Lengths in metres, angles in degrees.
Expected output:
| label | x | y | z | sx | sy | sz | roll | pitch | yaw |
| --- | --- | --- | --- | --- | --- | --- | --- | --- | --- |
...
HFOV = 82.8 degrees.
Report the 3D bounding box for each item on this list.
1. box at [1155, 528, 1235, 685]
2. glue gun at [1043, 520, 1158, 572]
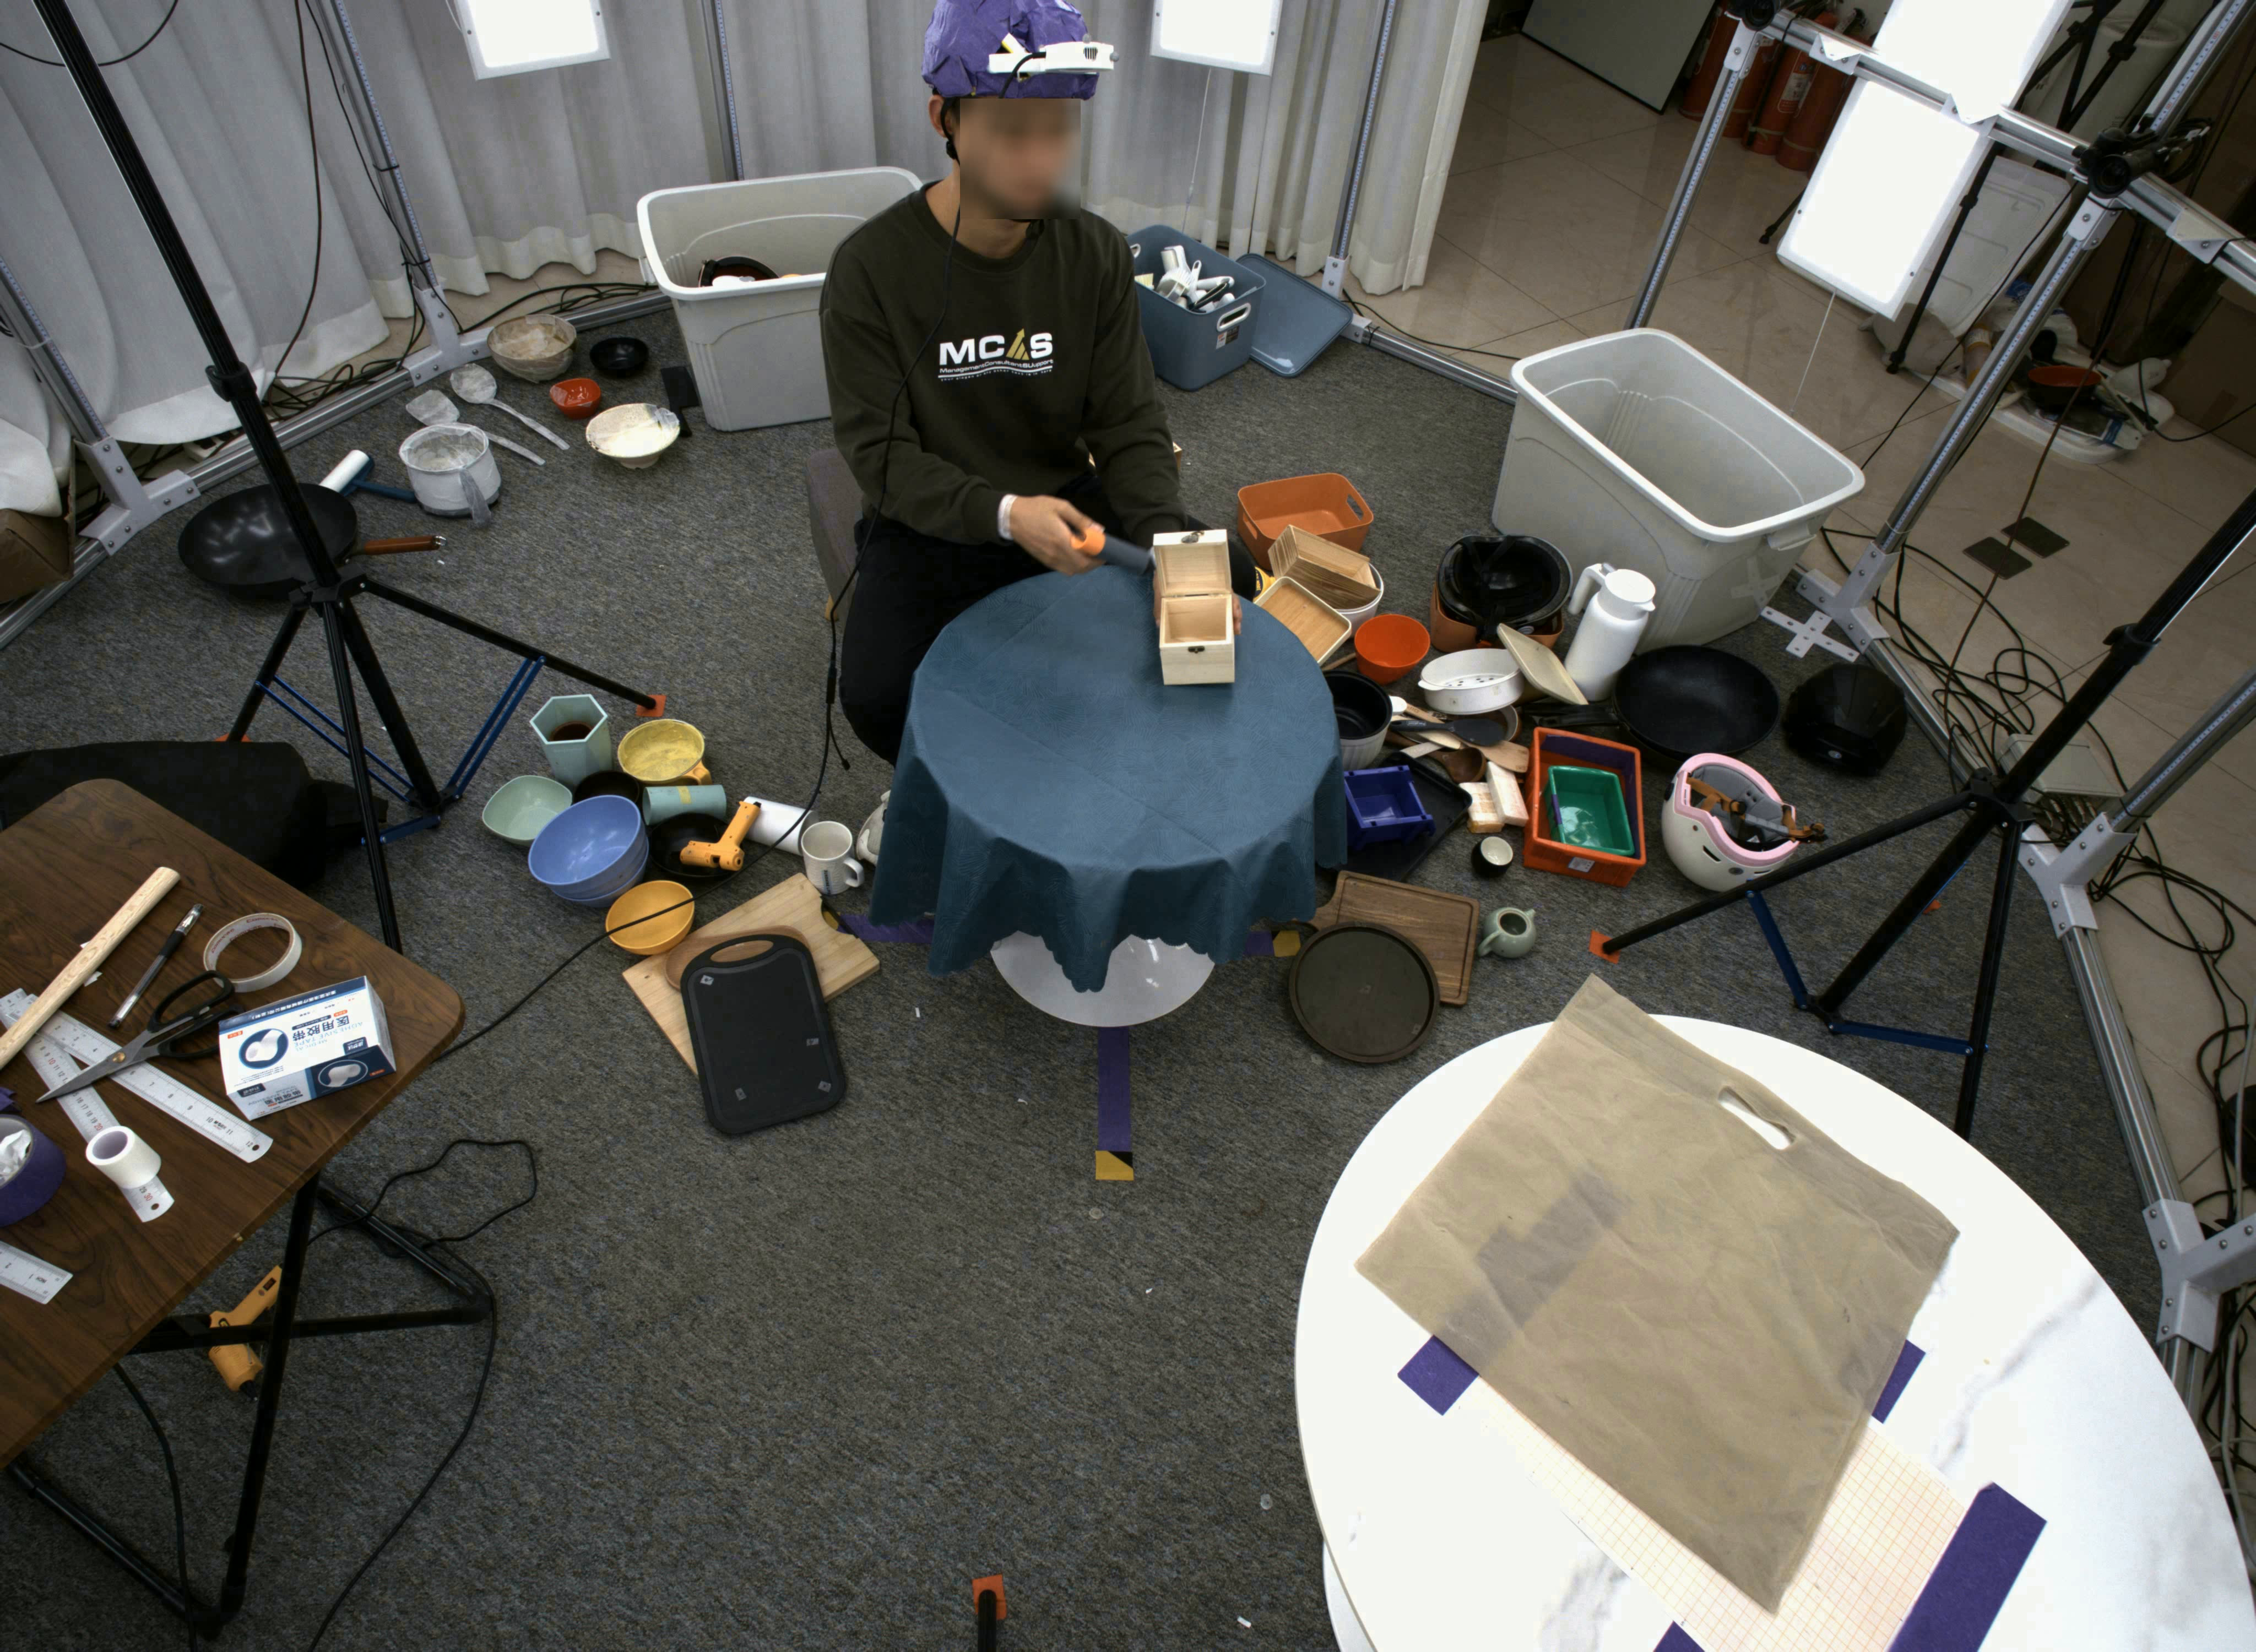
| label | x | y | z | sx | sy | sz | roll | pitch | yaw |
| --- | --- | --- | --- | --- | --- | --- | --- | --- | --- |
| box | 0.095 | -0.306 | 1.803 | 0.102 | 0.180 | 0.137 | -3 | 51 | 7 |
| glue gun | -0.039 | -0.380 | 1.751 | 0.116 | 0.041 | 0.141 | 17 | 2 | -44 |
